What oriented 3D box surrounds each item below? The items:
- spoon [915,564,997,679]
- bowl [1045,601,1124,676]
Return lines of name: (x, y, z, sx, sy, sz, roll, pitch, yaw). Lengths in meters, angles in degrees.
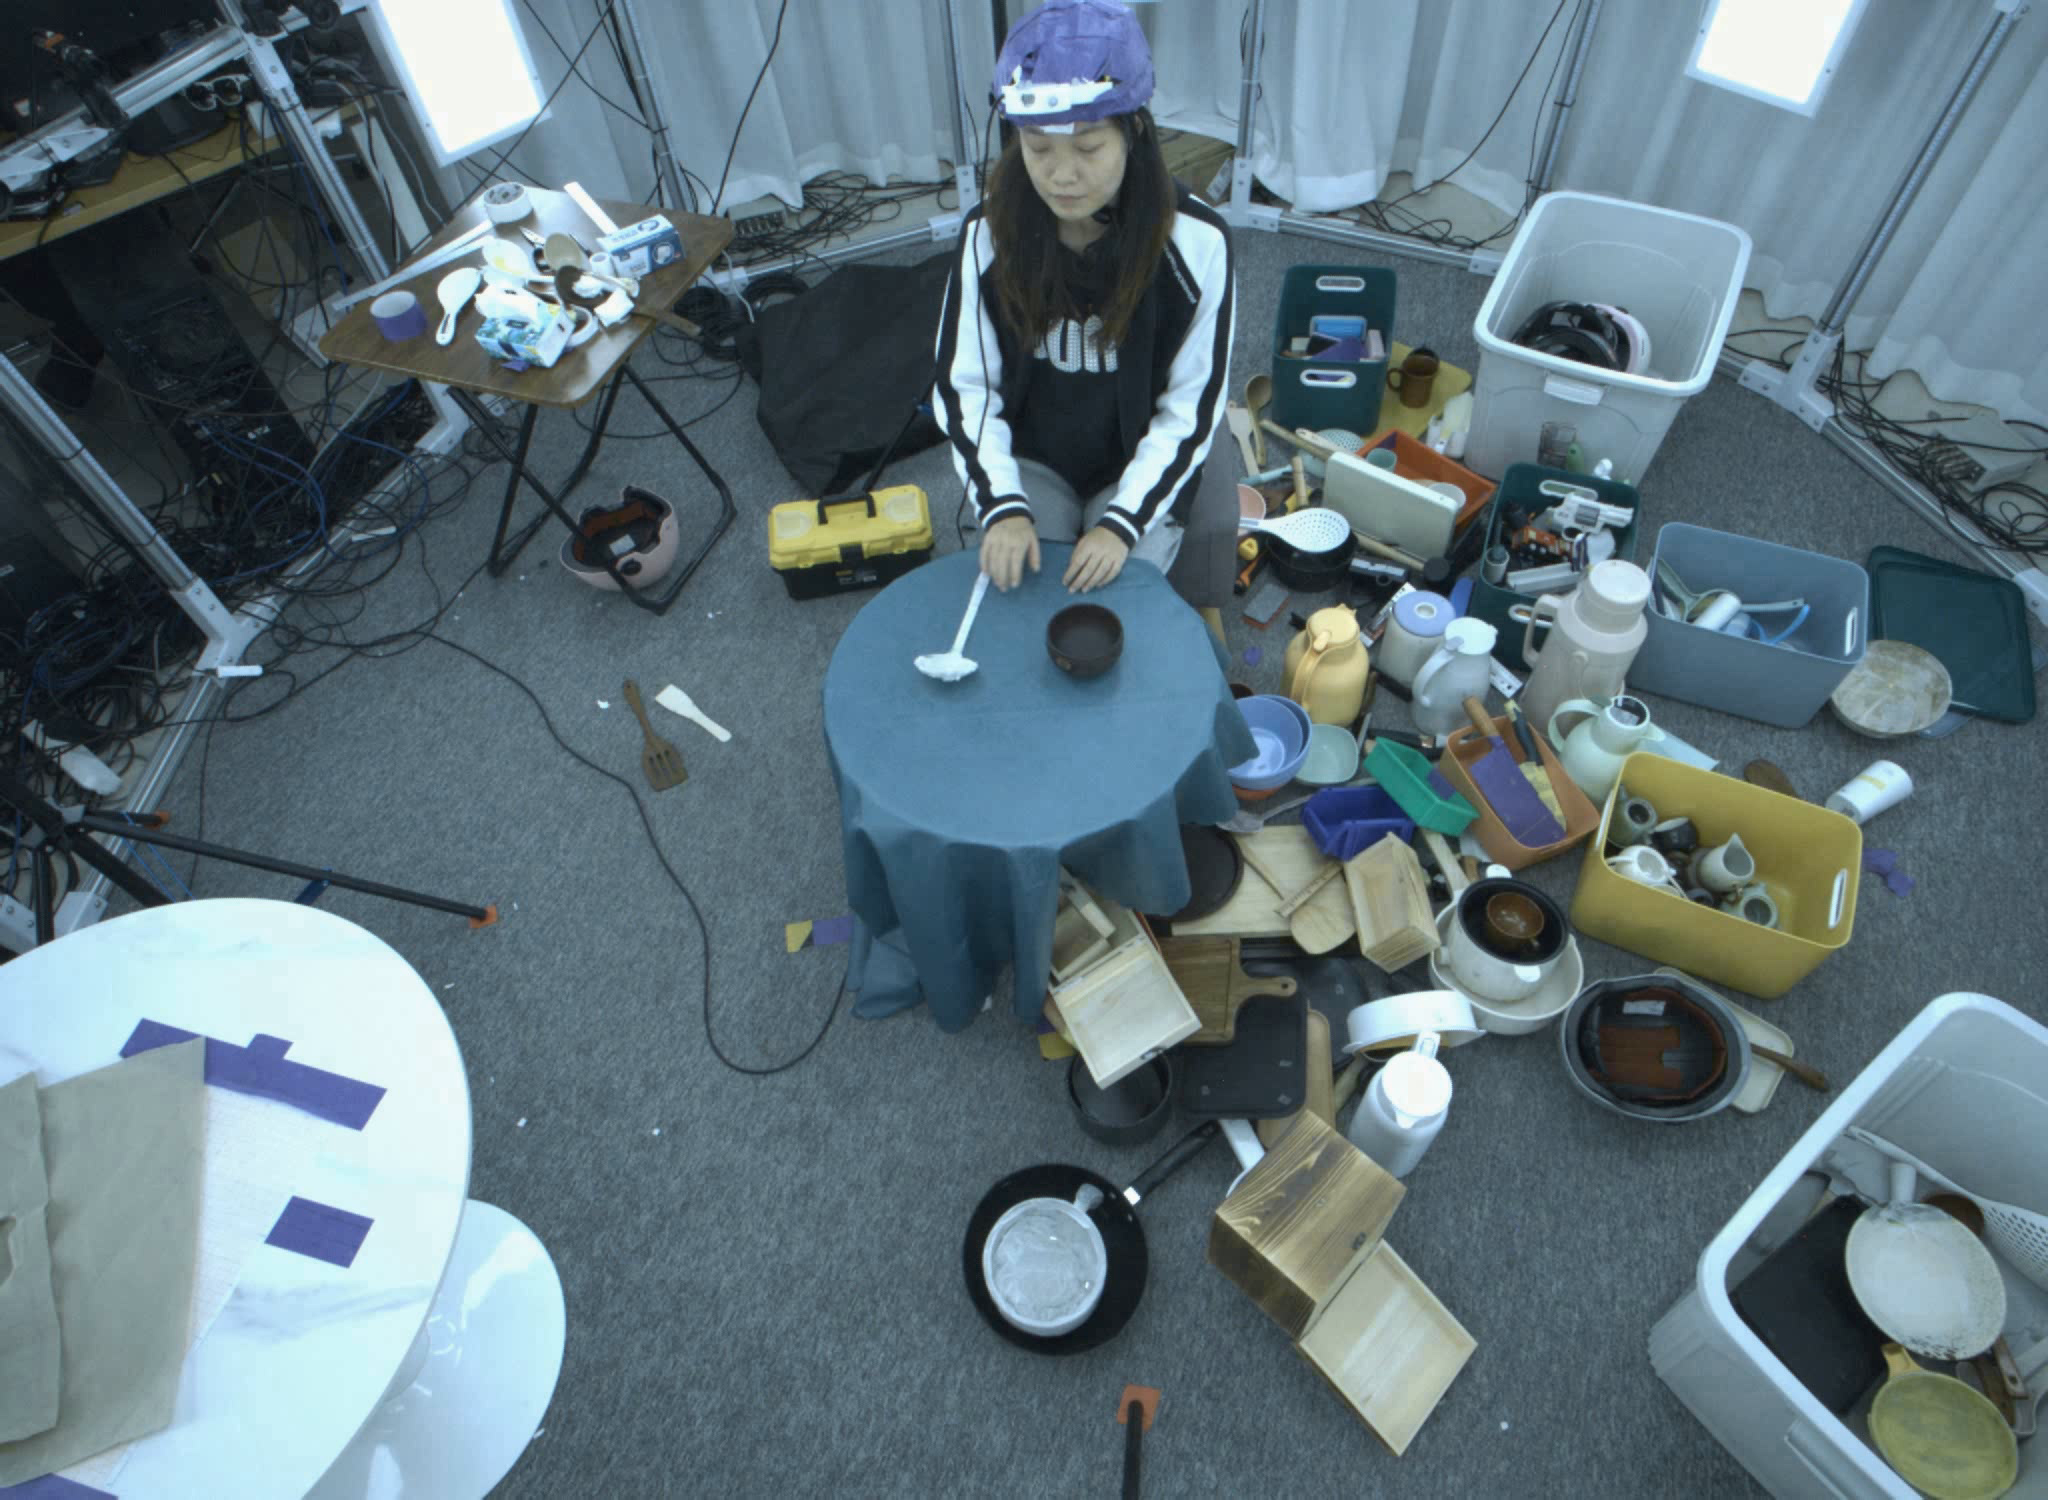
spoon: (-0.086, -0.207, 1.902, 0.100, 0.060, 0.276, 15, 57, 8)
bowl: (0.091, -0.160, 1.853, 0.118, 0.070, 0.117, 0, 54, 2)
